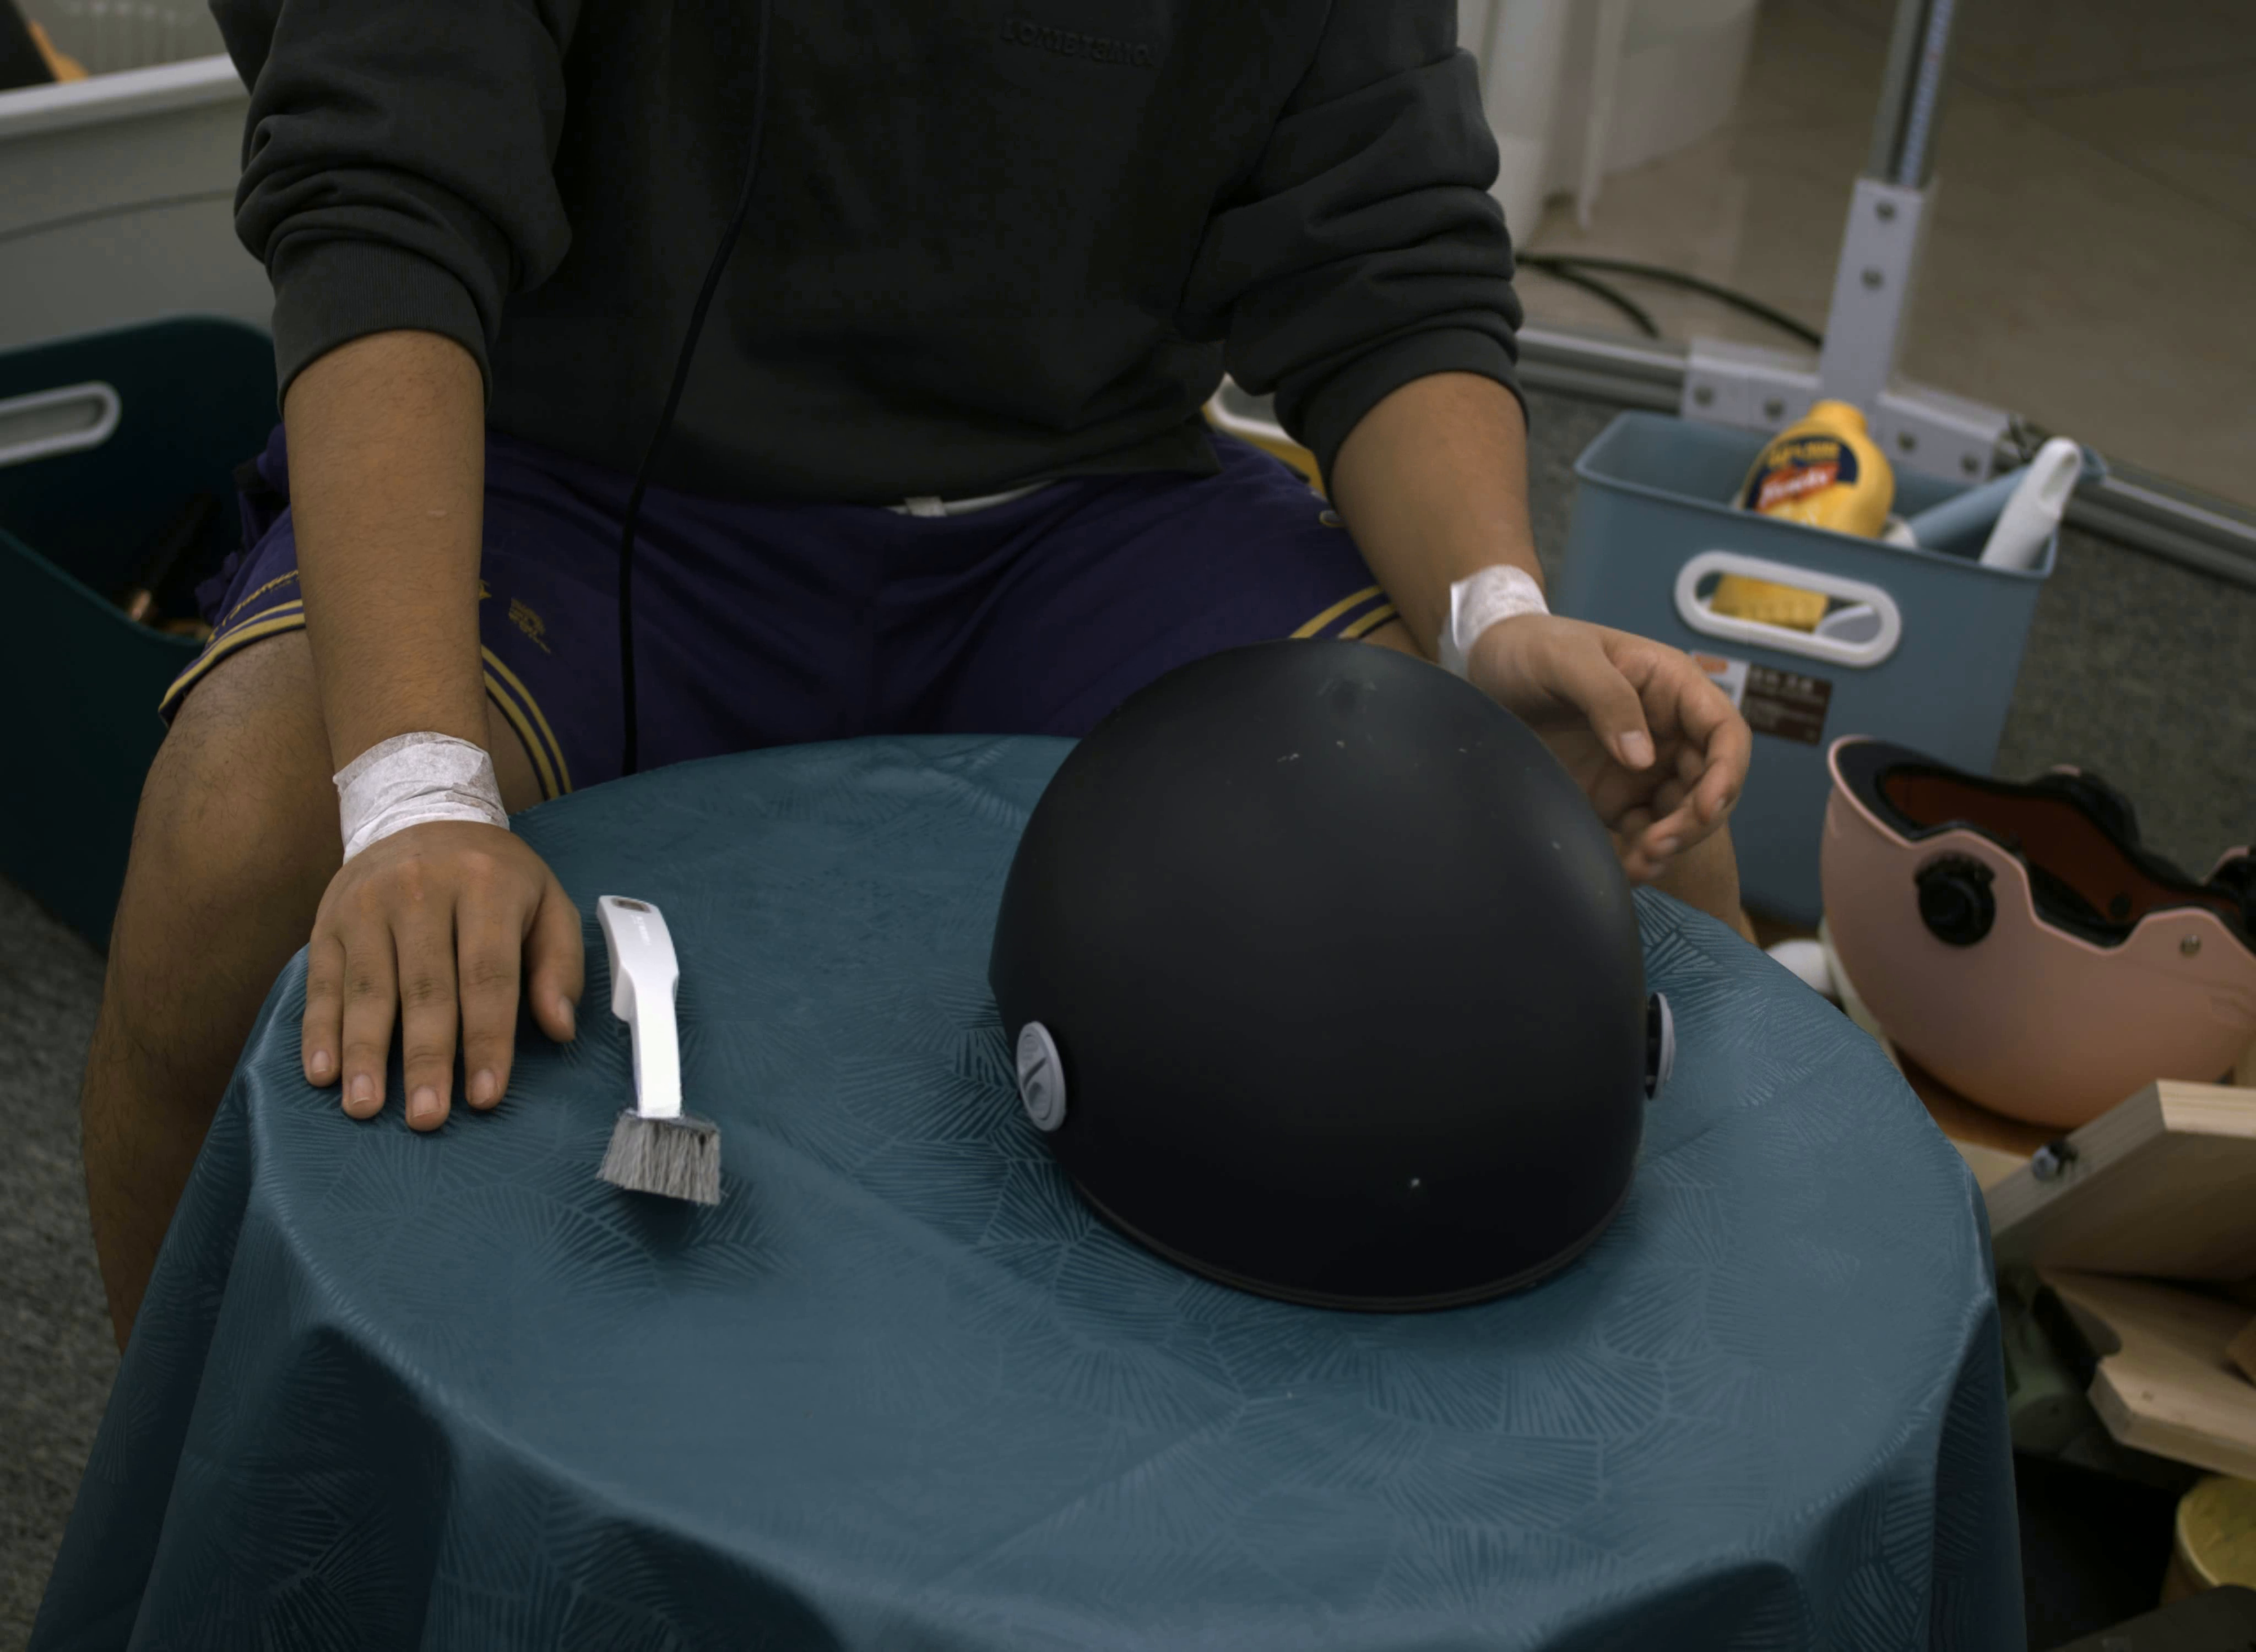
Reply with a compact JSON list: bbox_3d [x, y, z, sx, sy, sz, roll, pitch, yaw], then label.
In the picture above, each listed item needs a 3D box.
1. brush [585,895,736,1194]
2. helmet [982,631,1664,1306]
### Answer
[{"bbox_3d":[-0.167,0.078,1.827,0.034,0.050,0.245,10,13,-14],"label":"brush"},{"bbox_3d":[0.068,0.030,1.828,0.229,0.166,0.275,-2,30,-10],"label":"helmet"}]
